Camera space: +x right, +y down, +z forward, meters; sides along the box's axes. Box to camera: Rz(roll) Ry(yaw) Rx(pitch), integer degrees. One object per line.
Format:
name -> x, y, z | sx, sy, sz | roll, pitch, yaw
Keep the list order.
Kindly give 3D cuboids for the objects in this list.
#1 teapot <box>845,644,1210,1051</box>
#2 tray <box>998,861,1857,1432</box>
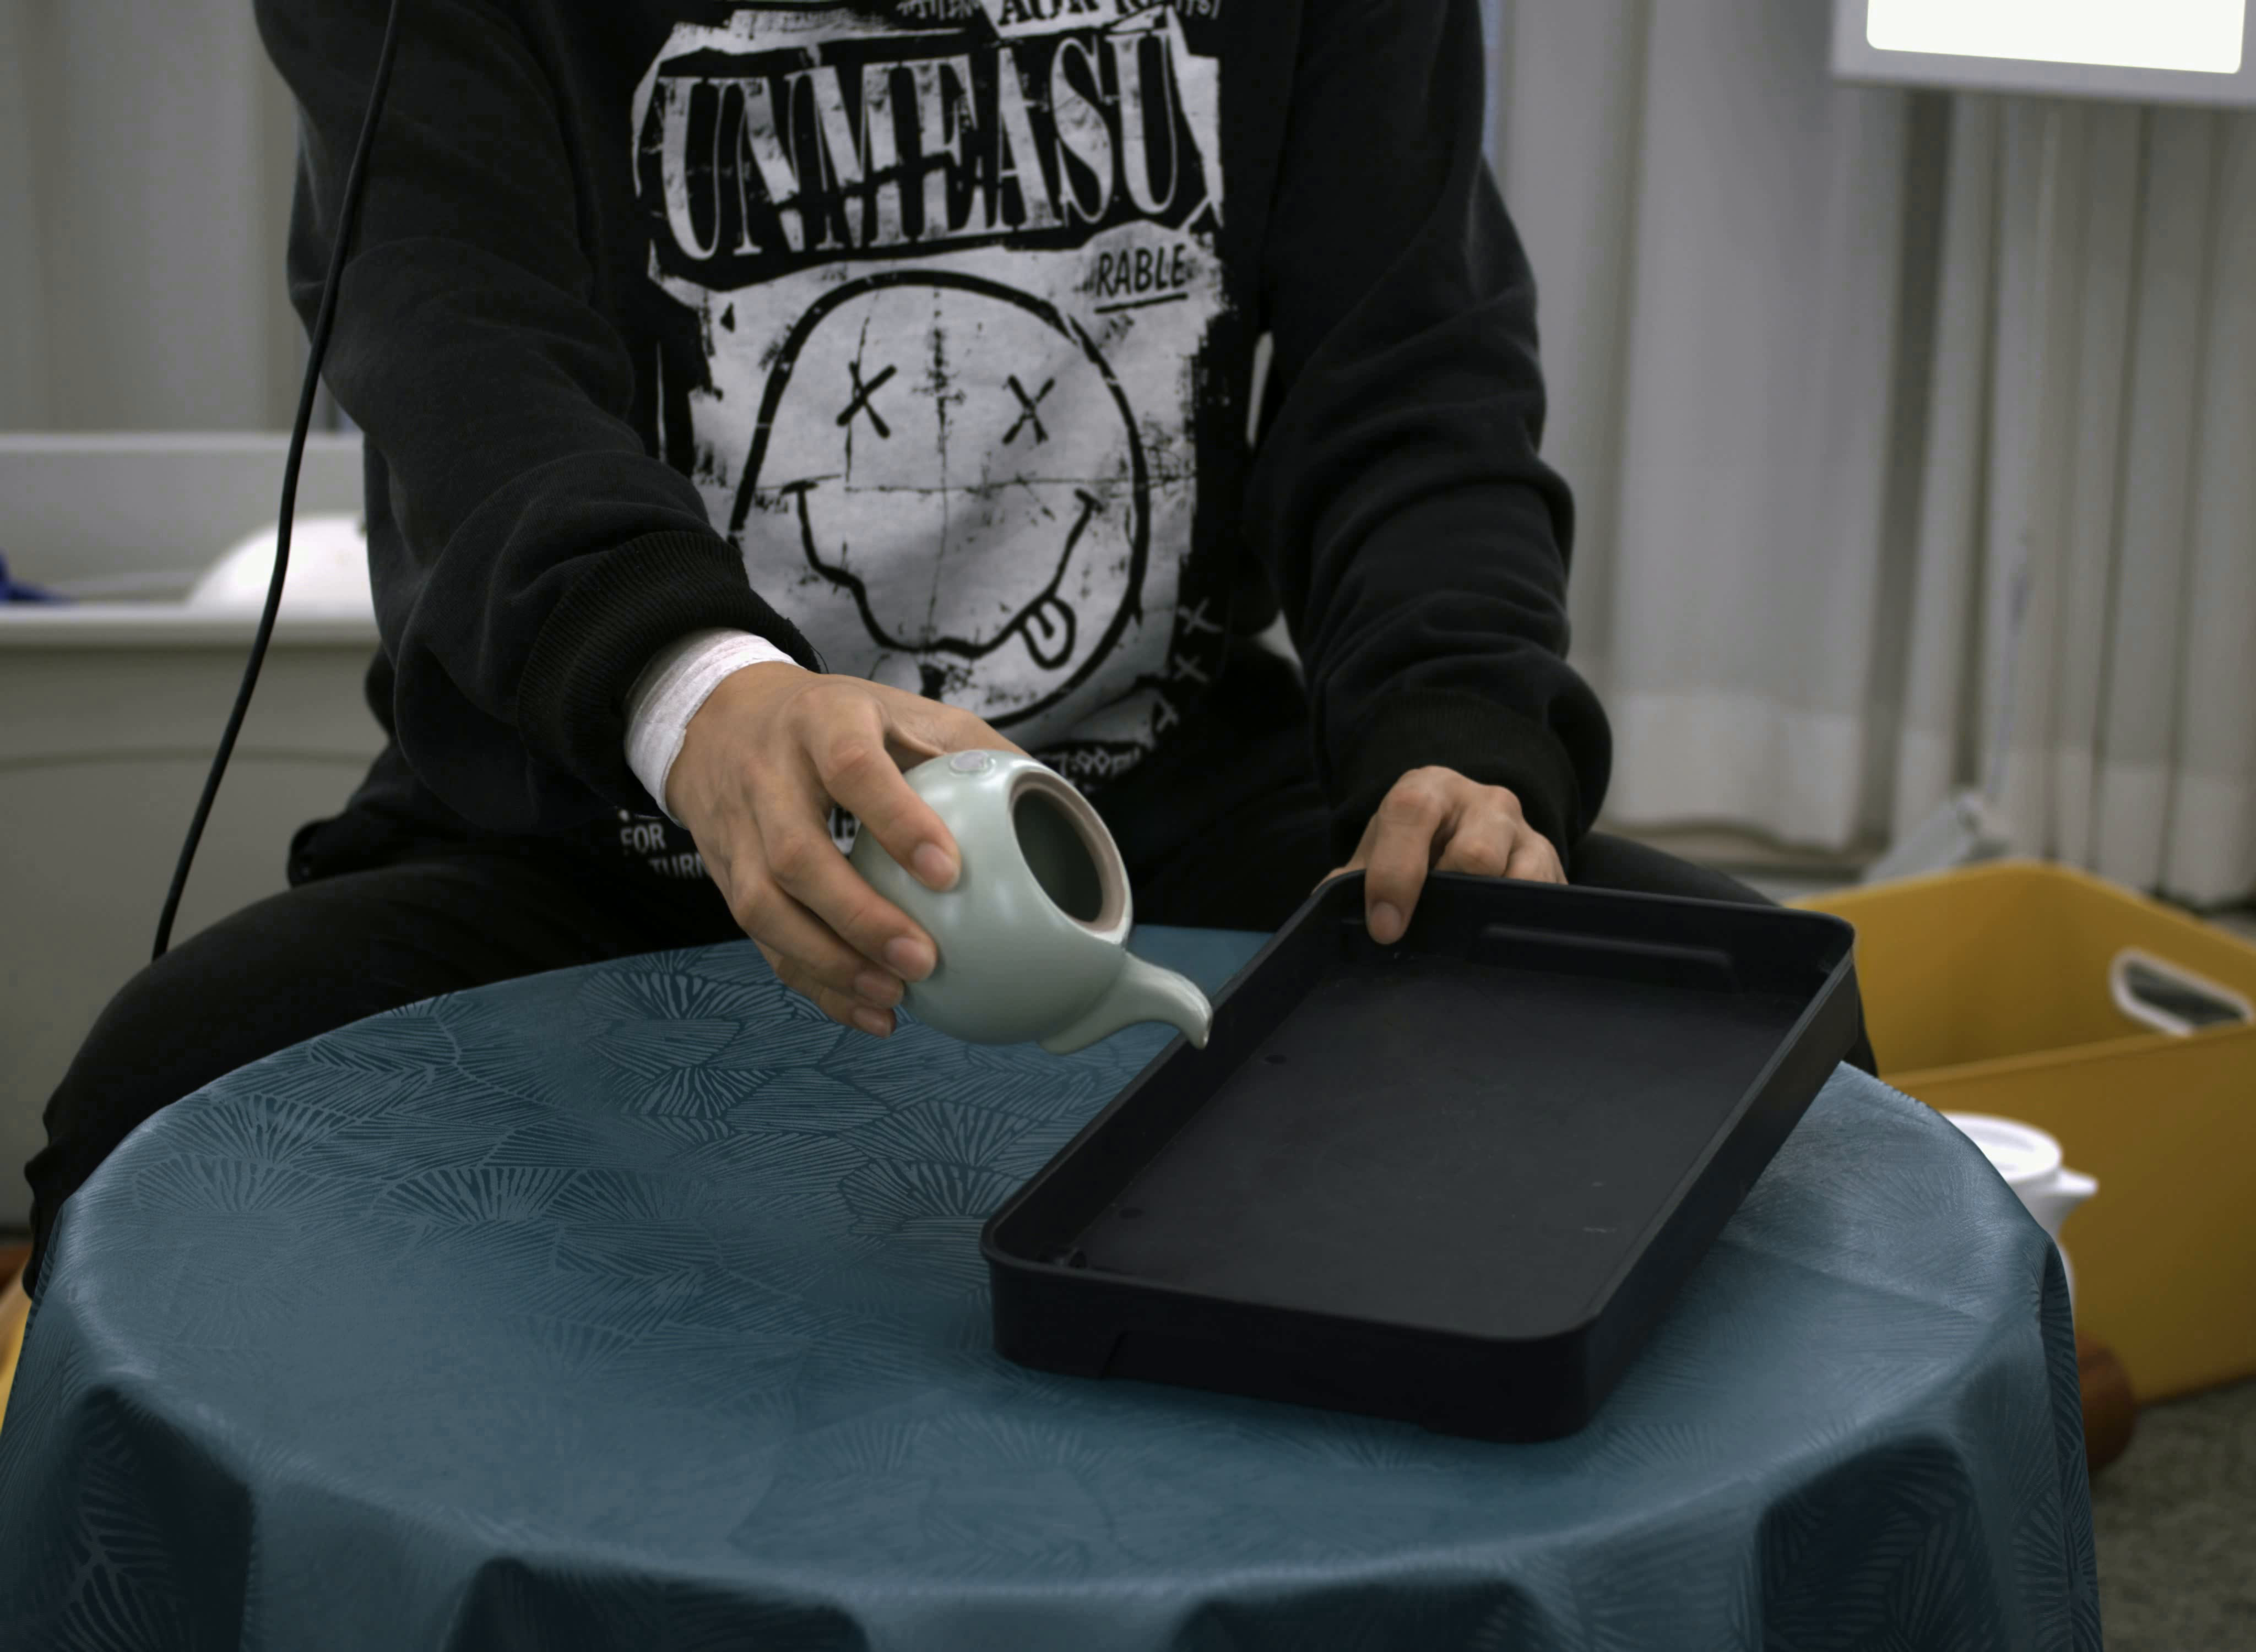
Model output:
teapot -> -0.040, 0.018, 1.538 | 0.074, 0.145, 0.088 | -27, 14, 26
tray -> 0.098, 0.088, 1.583 | 0.182, 0.037, 0.317 | 5, 23, 20
